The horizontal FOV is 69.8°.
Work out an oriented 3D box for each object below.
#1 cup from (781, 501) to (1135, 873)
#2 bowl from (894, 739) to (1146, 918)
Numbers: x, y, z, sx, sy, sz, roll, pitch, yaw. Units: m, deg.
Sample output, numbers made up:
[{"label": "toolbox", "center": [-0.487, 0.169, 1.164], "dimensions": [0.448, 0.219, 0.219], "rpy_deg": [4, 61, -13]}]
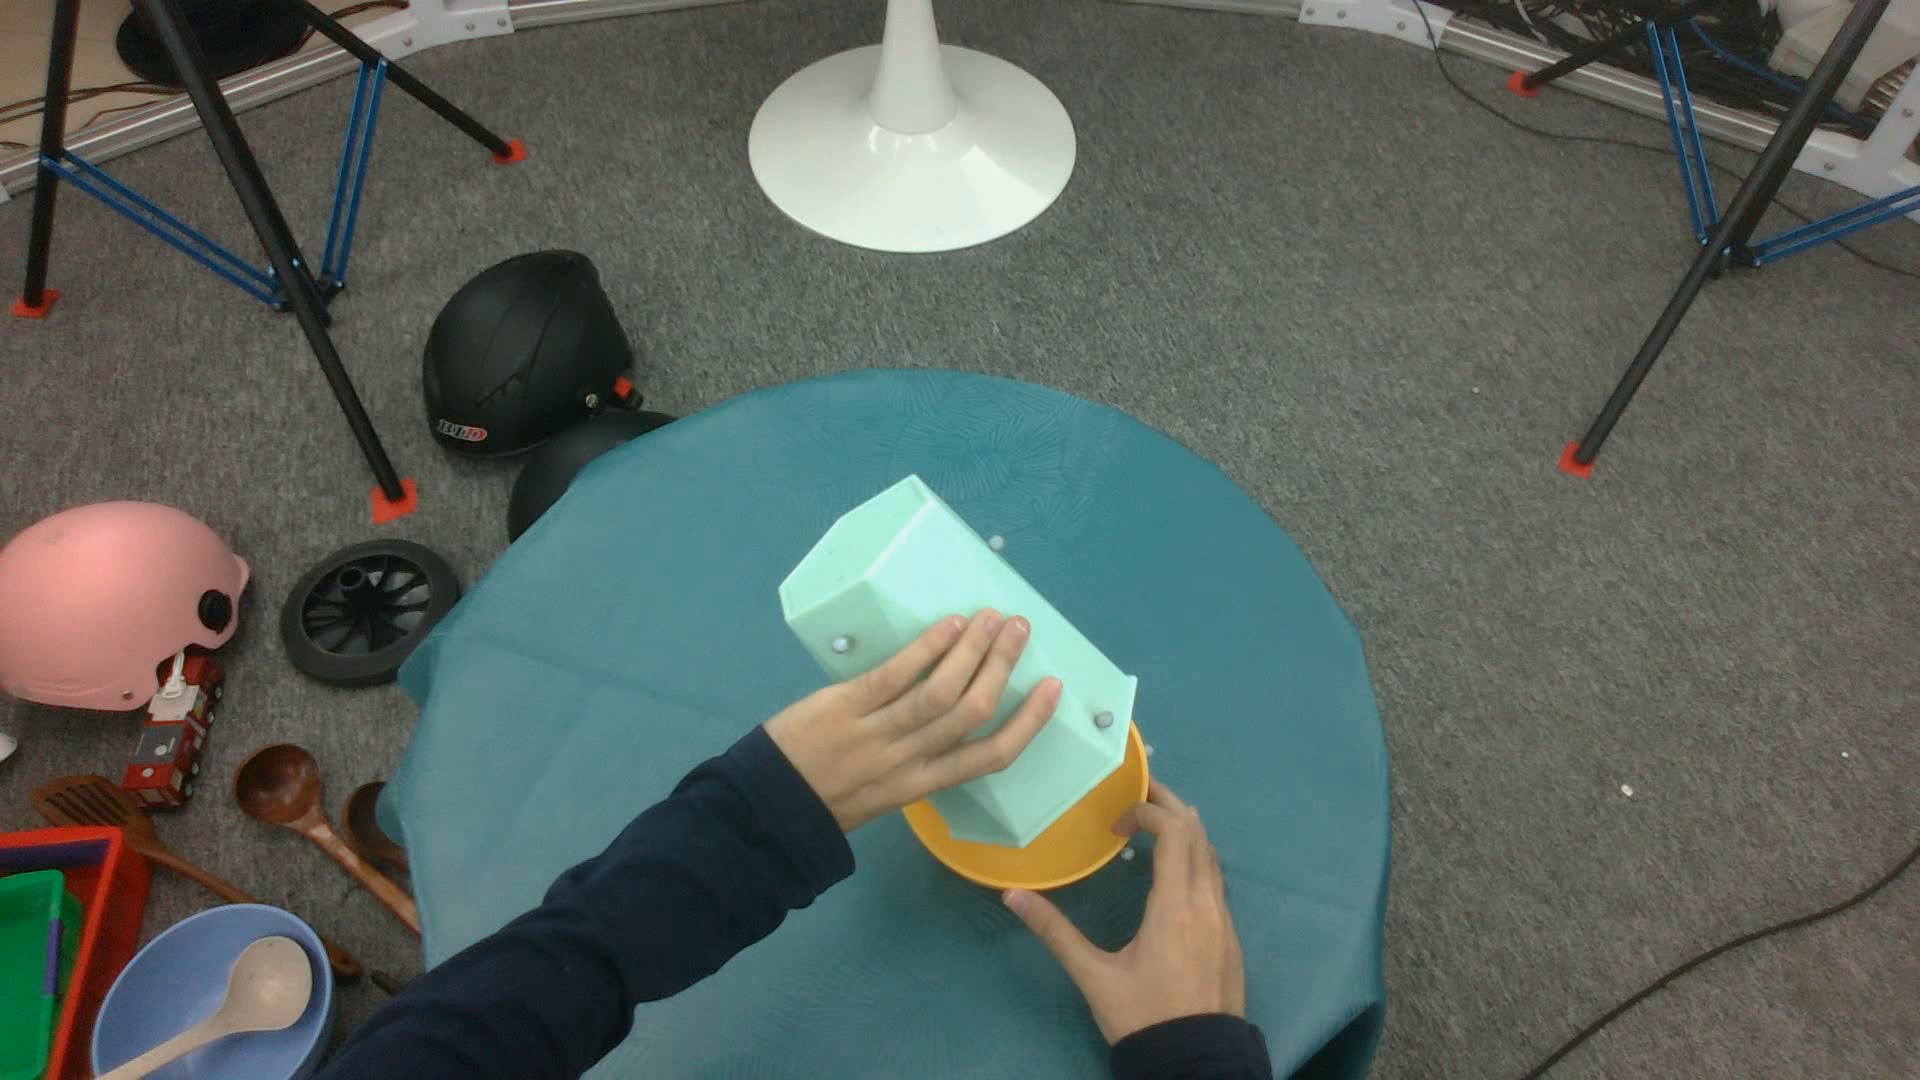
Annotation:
[{"label": "cup", "center": [-0.004, 0.072, 0.717], "dimensions": [0.163, 0.130, 0.115], "rpy_deg": [50, 62, -18]}, {"label": "bowl", "center": [0.035, 0.161, 0.812], "dimensions": [0.145, 0.060, 0.146], "rpy_deg": [-1, 54, 1]}]
